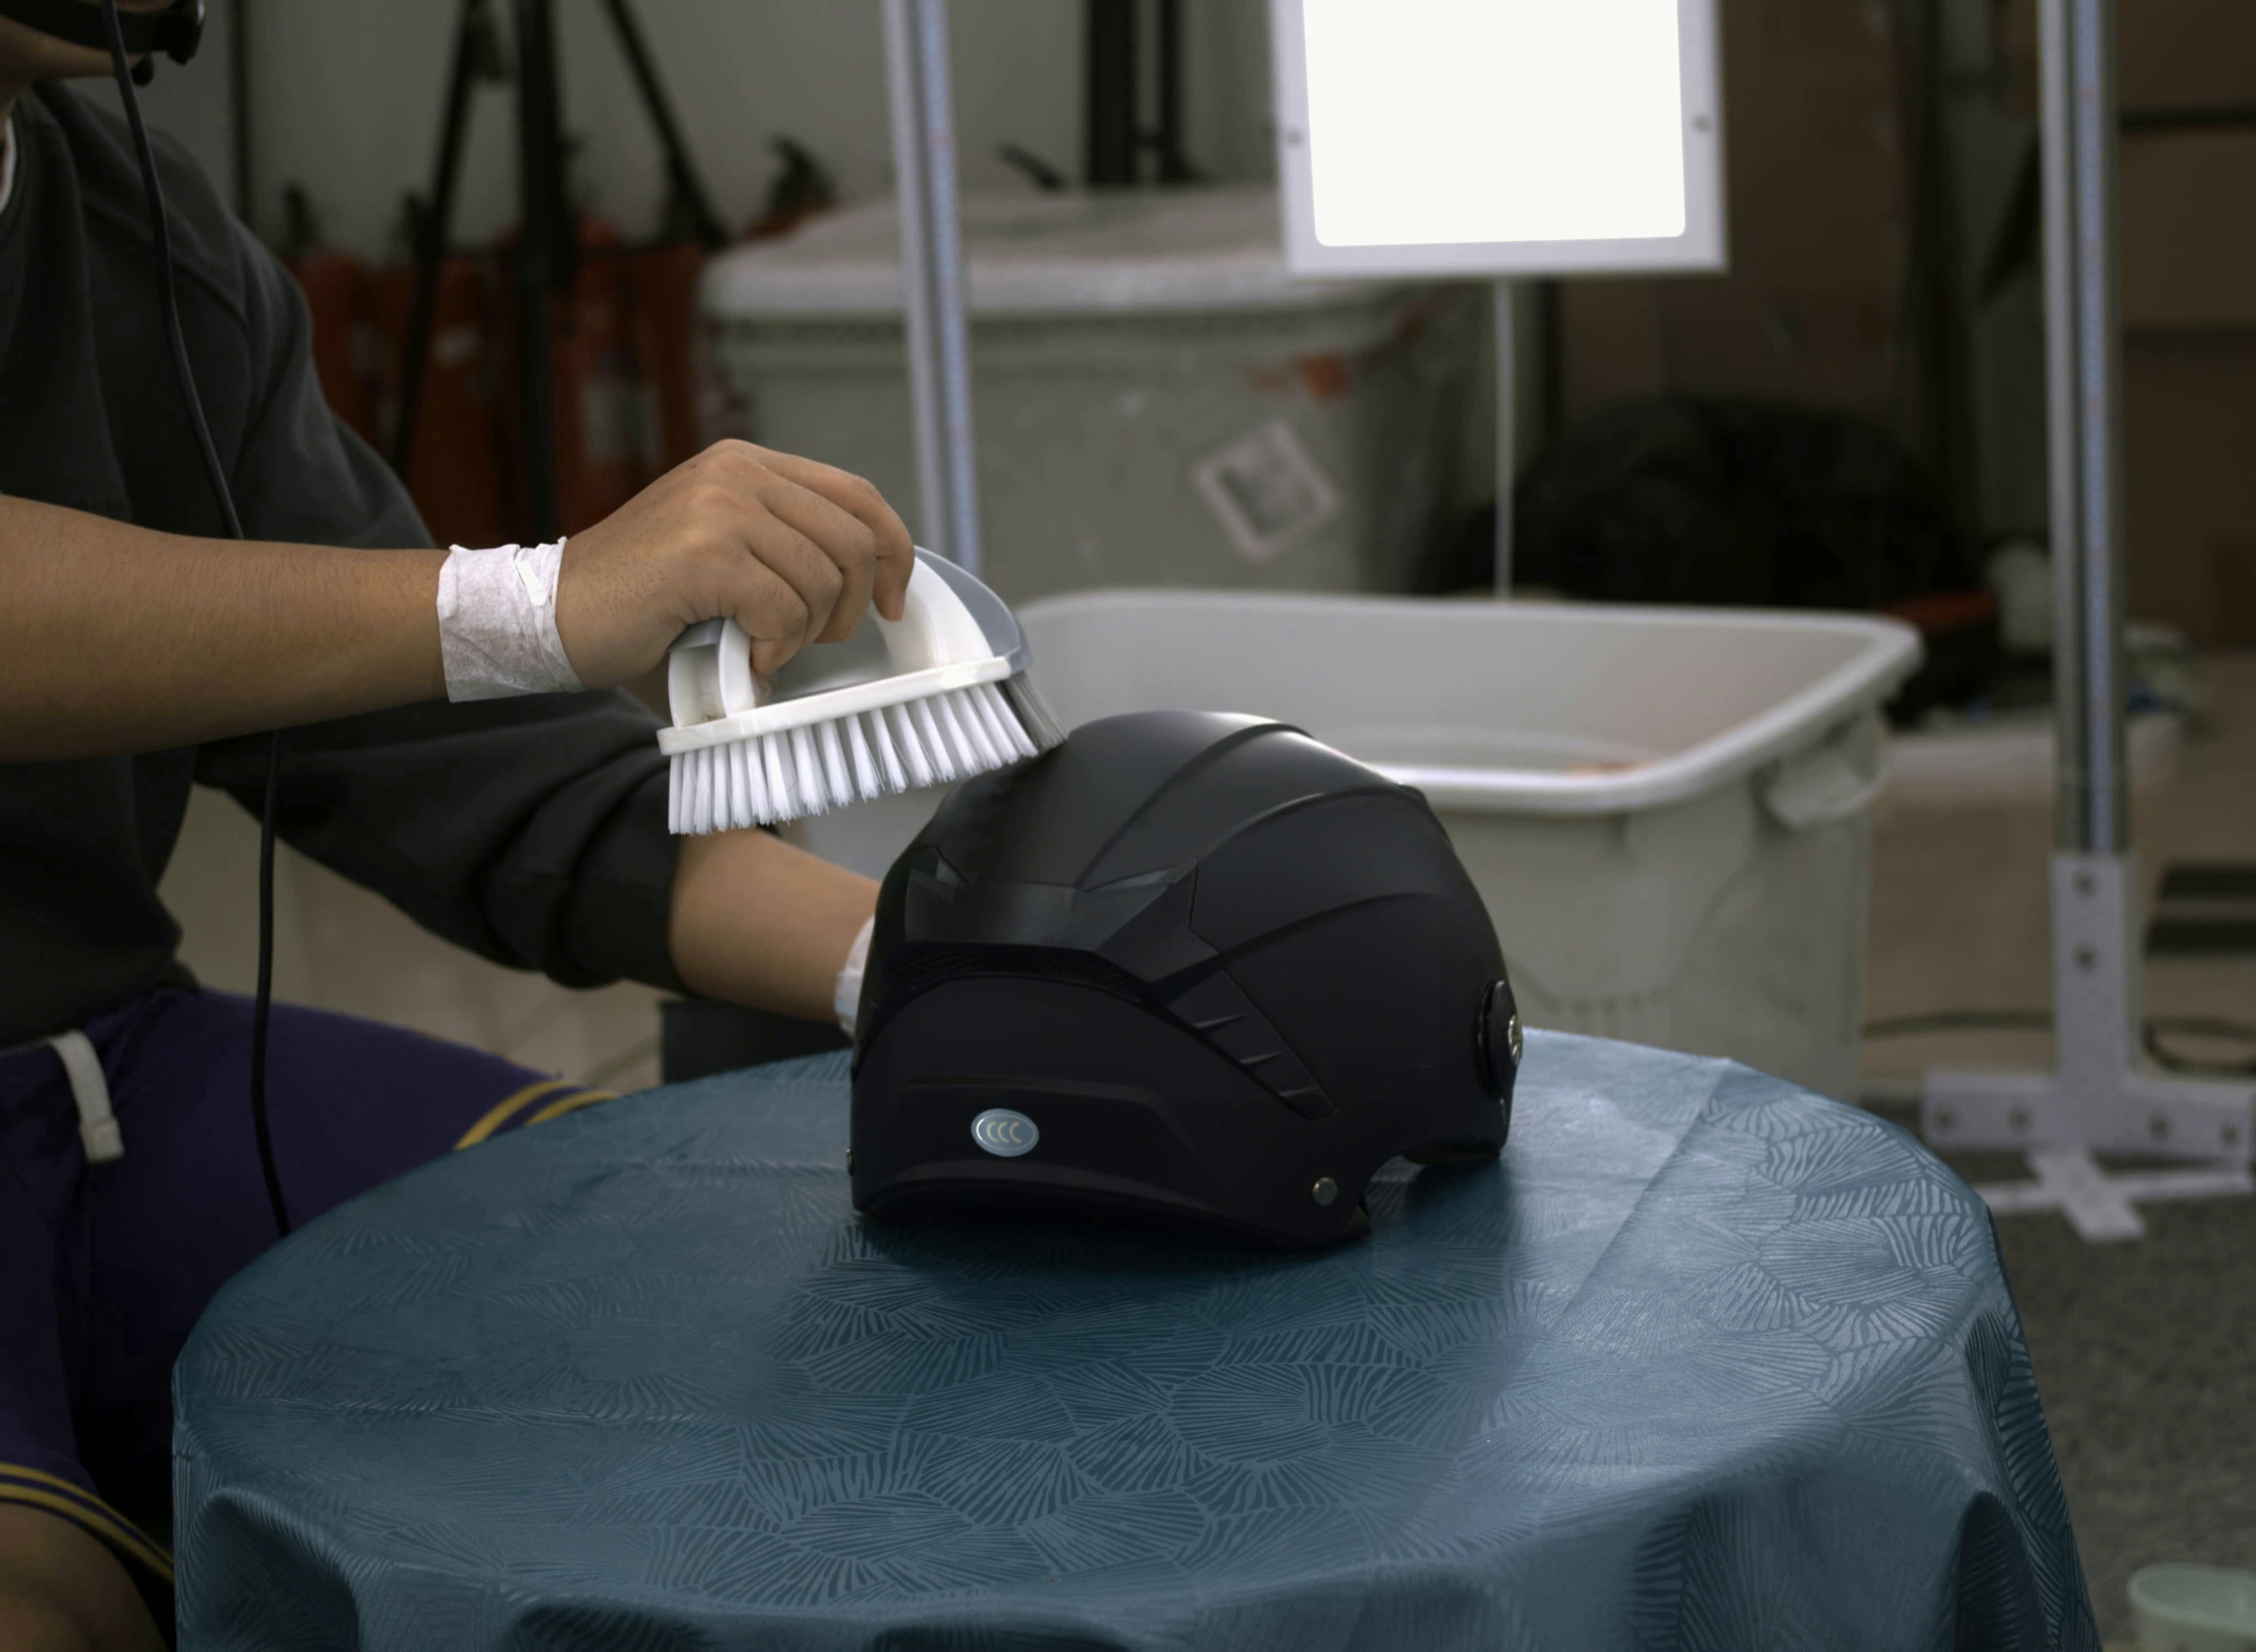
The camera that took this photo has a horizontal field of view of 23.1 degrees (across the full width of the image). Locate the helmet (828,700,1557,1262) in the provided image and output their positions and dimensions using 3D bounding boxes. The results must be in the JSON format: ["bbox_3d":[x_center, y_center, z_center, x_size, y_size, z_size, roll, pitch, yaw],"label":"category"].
[{"bbox_3d":[0.019,0.043,1.900,0.251,0.173,0.271,3,20,28],"label":"helmet"}]

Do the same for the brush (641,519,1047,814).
[{"bbox_3d":[-0.089,-0.055,1.817,0.063,0.094,0.171,-6,3,42],"label":"brush"}]
